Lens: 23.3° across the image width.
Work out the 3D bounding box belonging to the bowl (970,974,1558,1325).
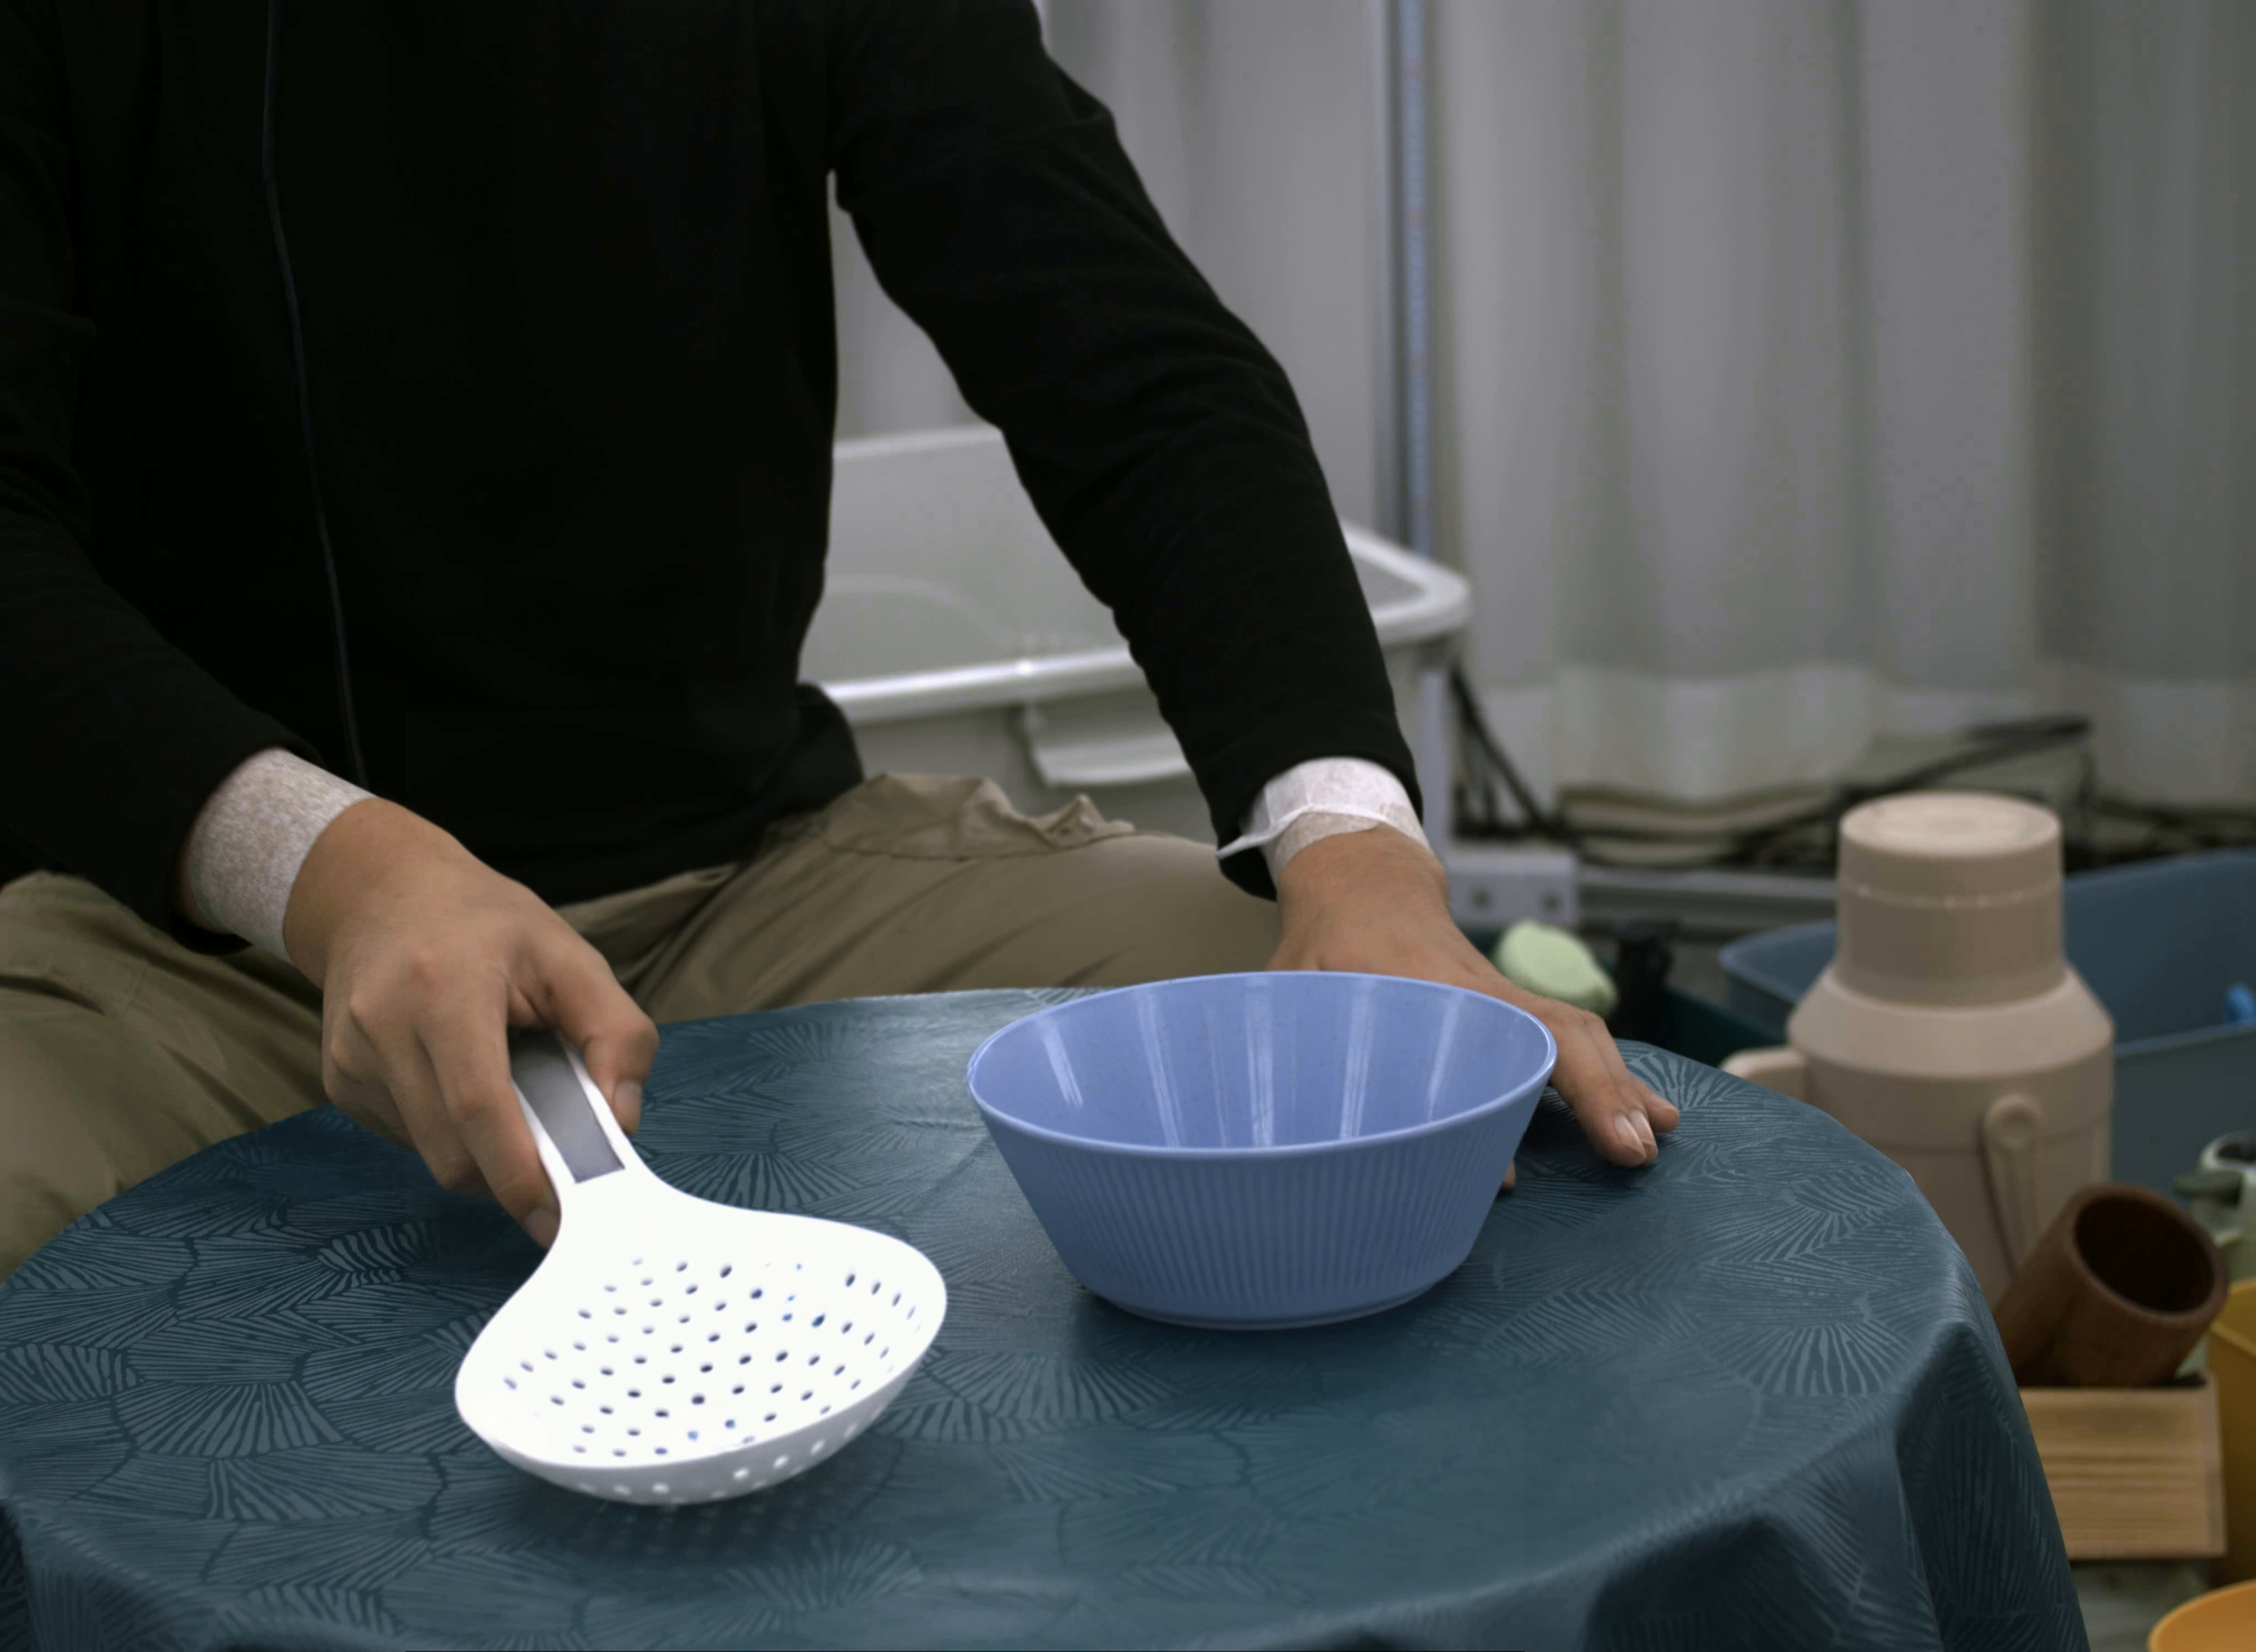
[{"bbox_3d":[0.041,0.099,1.629,0.175,0.070,0.177,-3,14,0],"label":"bowl"}]

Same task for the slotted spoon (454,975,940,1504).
[{"bbox_3d":[-0.150,0.111,1.587,0.135,0.045,0.354,-17,27,-12],"label":"slotted spoon"}]
